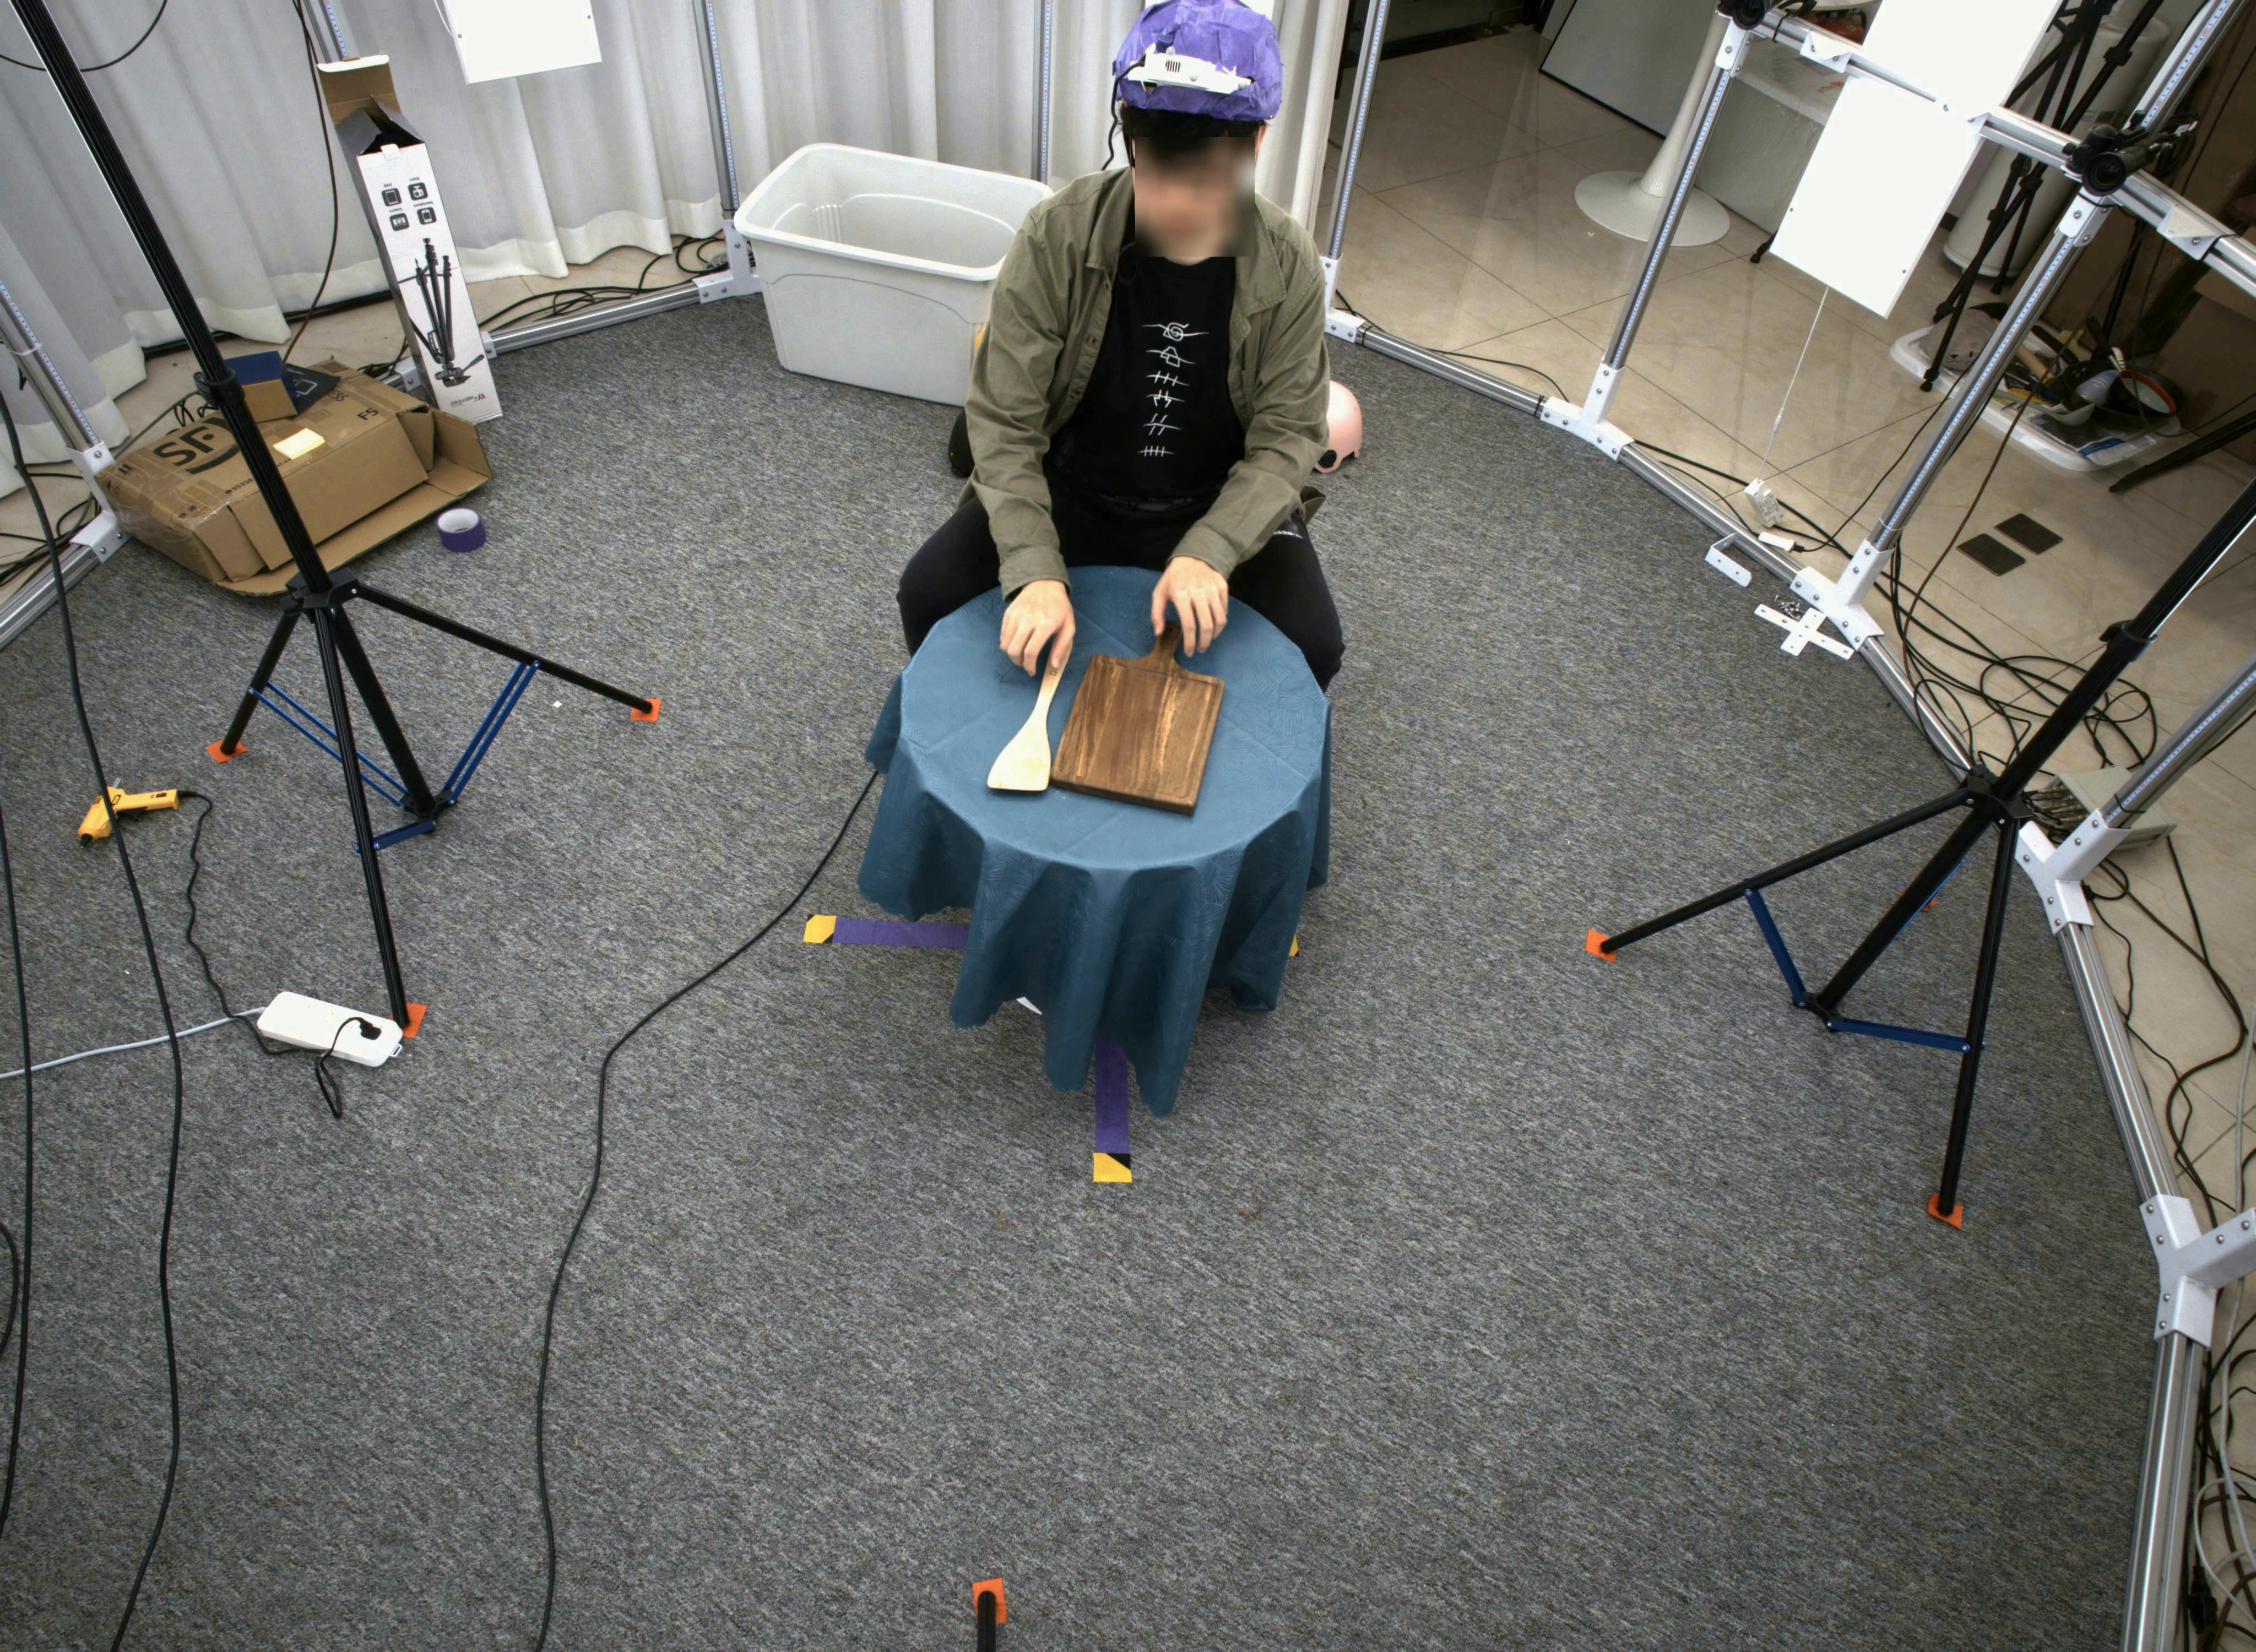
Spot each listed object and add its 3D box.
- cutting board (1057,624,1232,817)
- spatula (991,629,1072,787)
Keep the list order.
[{"bbox_3d":[0.038,-0.164,1.791,0.201,0.022,0.360,12,49,6],"label":"cutting board"},{"bbox_3d":[-0.118,-0.169,1.785,0.080,0.016,0.335,9,49,3],"label":"spatula"}]
